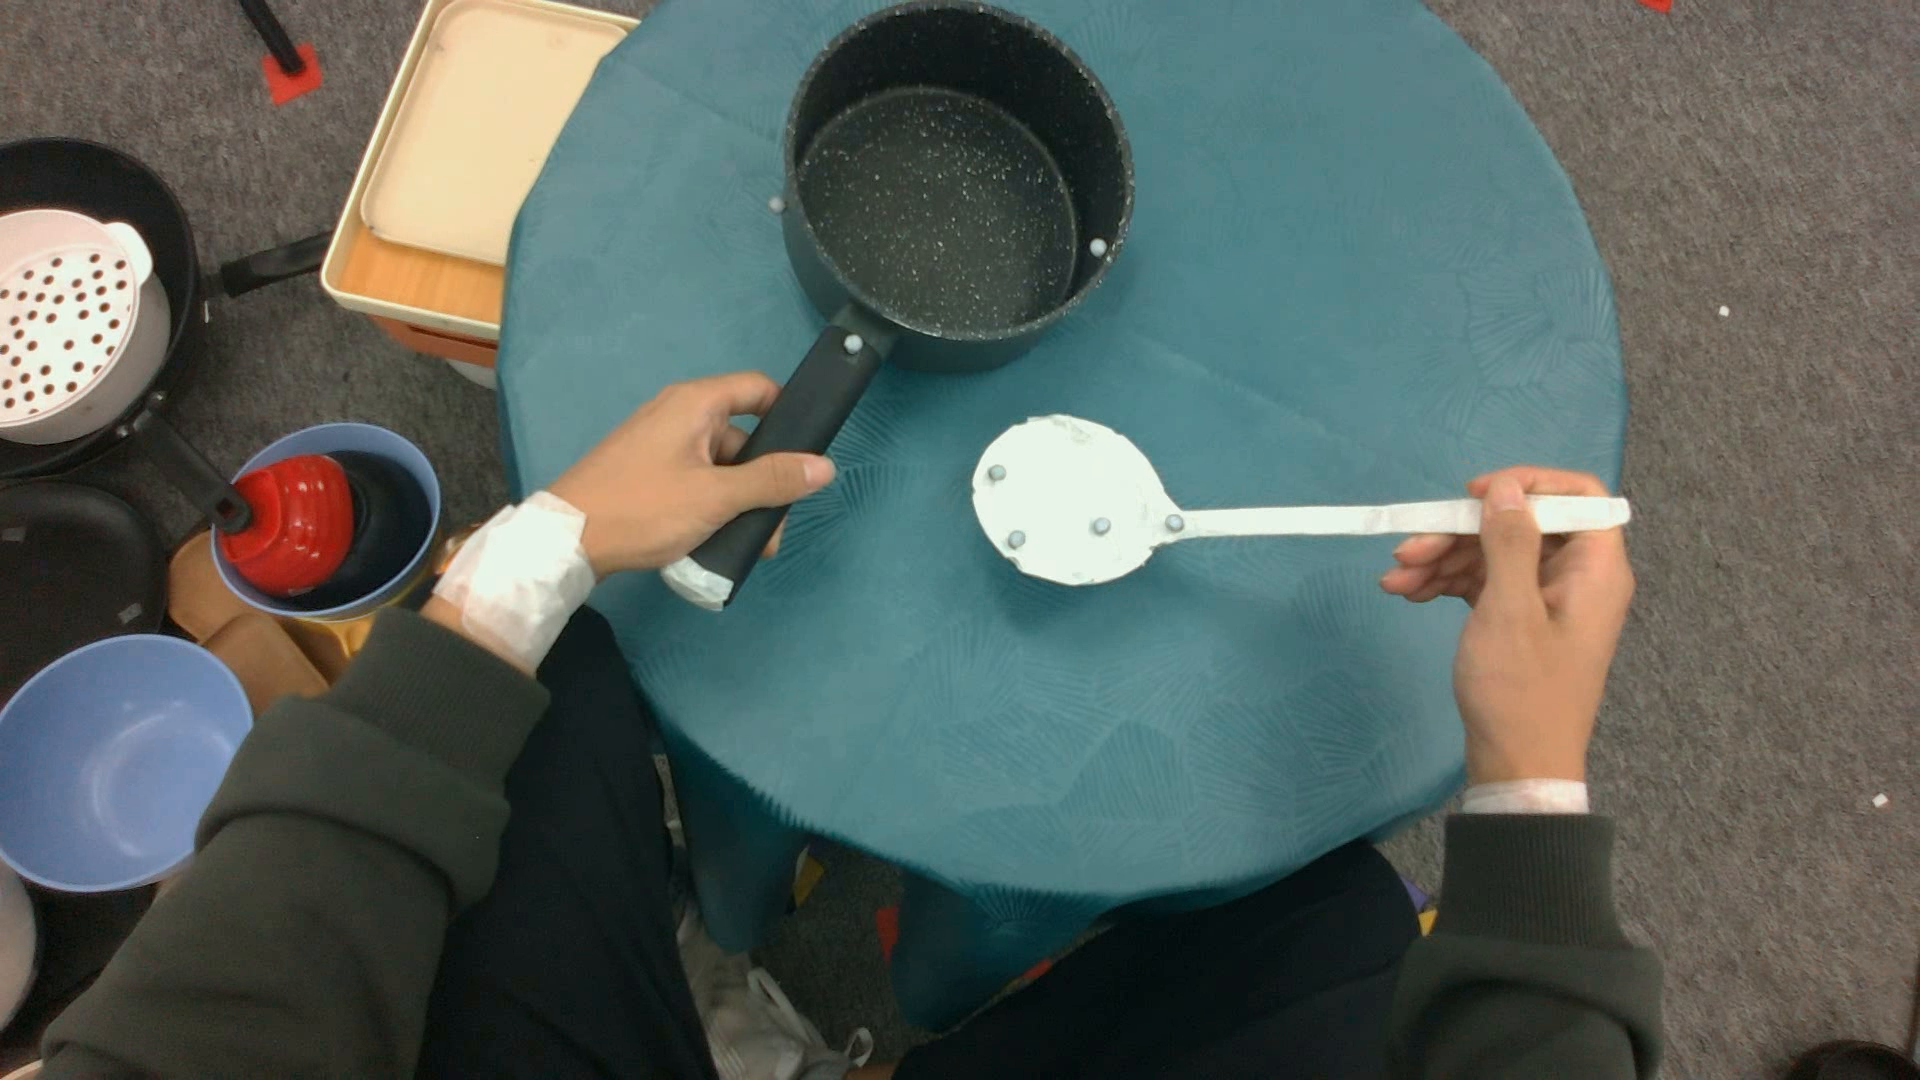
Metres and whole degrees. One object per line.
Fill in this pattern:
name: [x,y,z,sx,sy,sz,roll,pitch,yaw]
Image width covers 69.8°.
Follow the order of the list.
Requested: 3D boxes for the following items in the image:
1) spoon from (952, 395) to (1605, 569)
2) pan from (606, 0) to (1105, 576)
spoon: [0.128,-0.025,0.602,0.277,0.059,0.101,1,57,30]
pan: [-0.060,-0.116,0.668,0.172,0.086,0.330,34,72,-4]
